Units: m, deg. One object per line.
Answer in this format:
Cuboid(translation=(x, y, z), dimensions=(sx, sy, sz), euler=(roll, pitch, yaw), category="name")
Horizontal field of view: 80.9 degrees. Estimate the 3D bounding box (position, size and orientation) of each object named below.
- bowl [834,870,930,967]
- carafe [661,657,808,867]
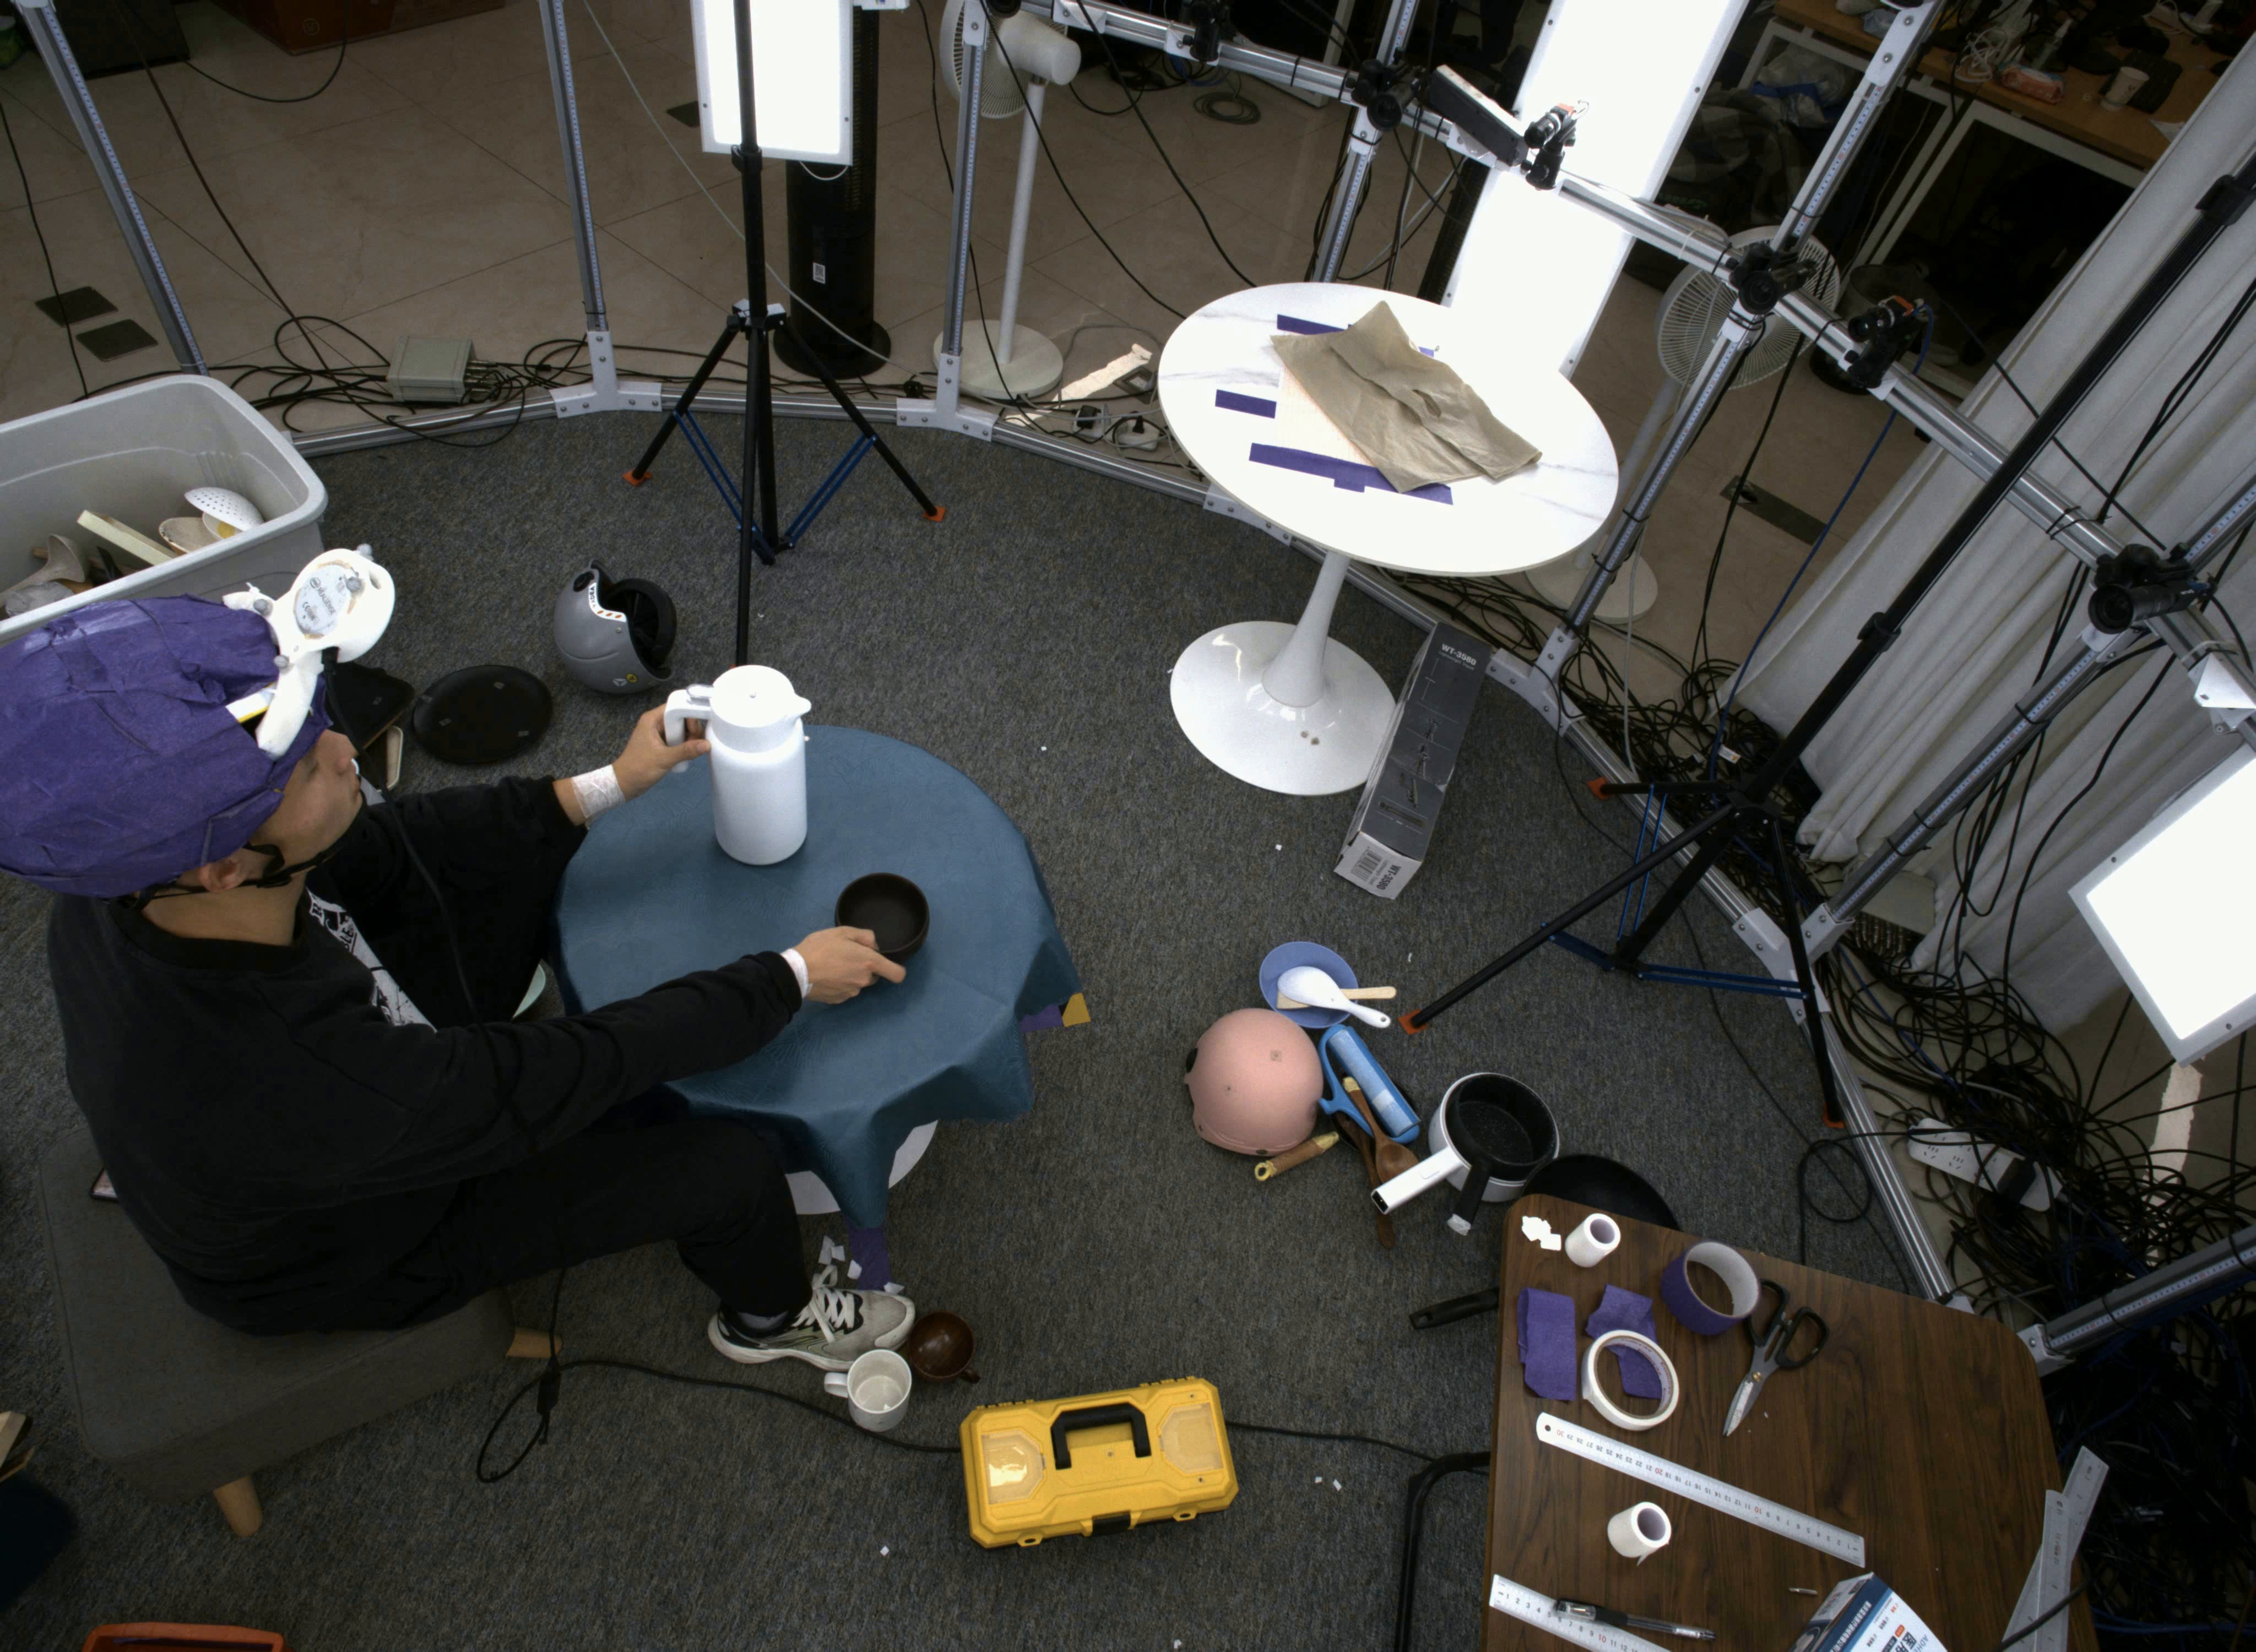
Cuboid(translation=(-0.305, 0.120, 1.612), dimensions=(0.118, 0.071, 0.116), euler=(7, 56, -9), category="bowl")
Cuboid(translation=(-0.478, -0.075, 1.591), dimensions=(0.173, 0.274, 0.121), euler=(2, 53, -10), category="carafe")
